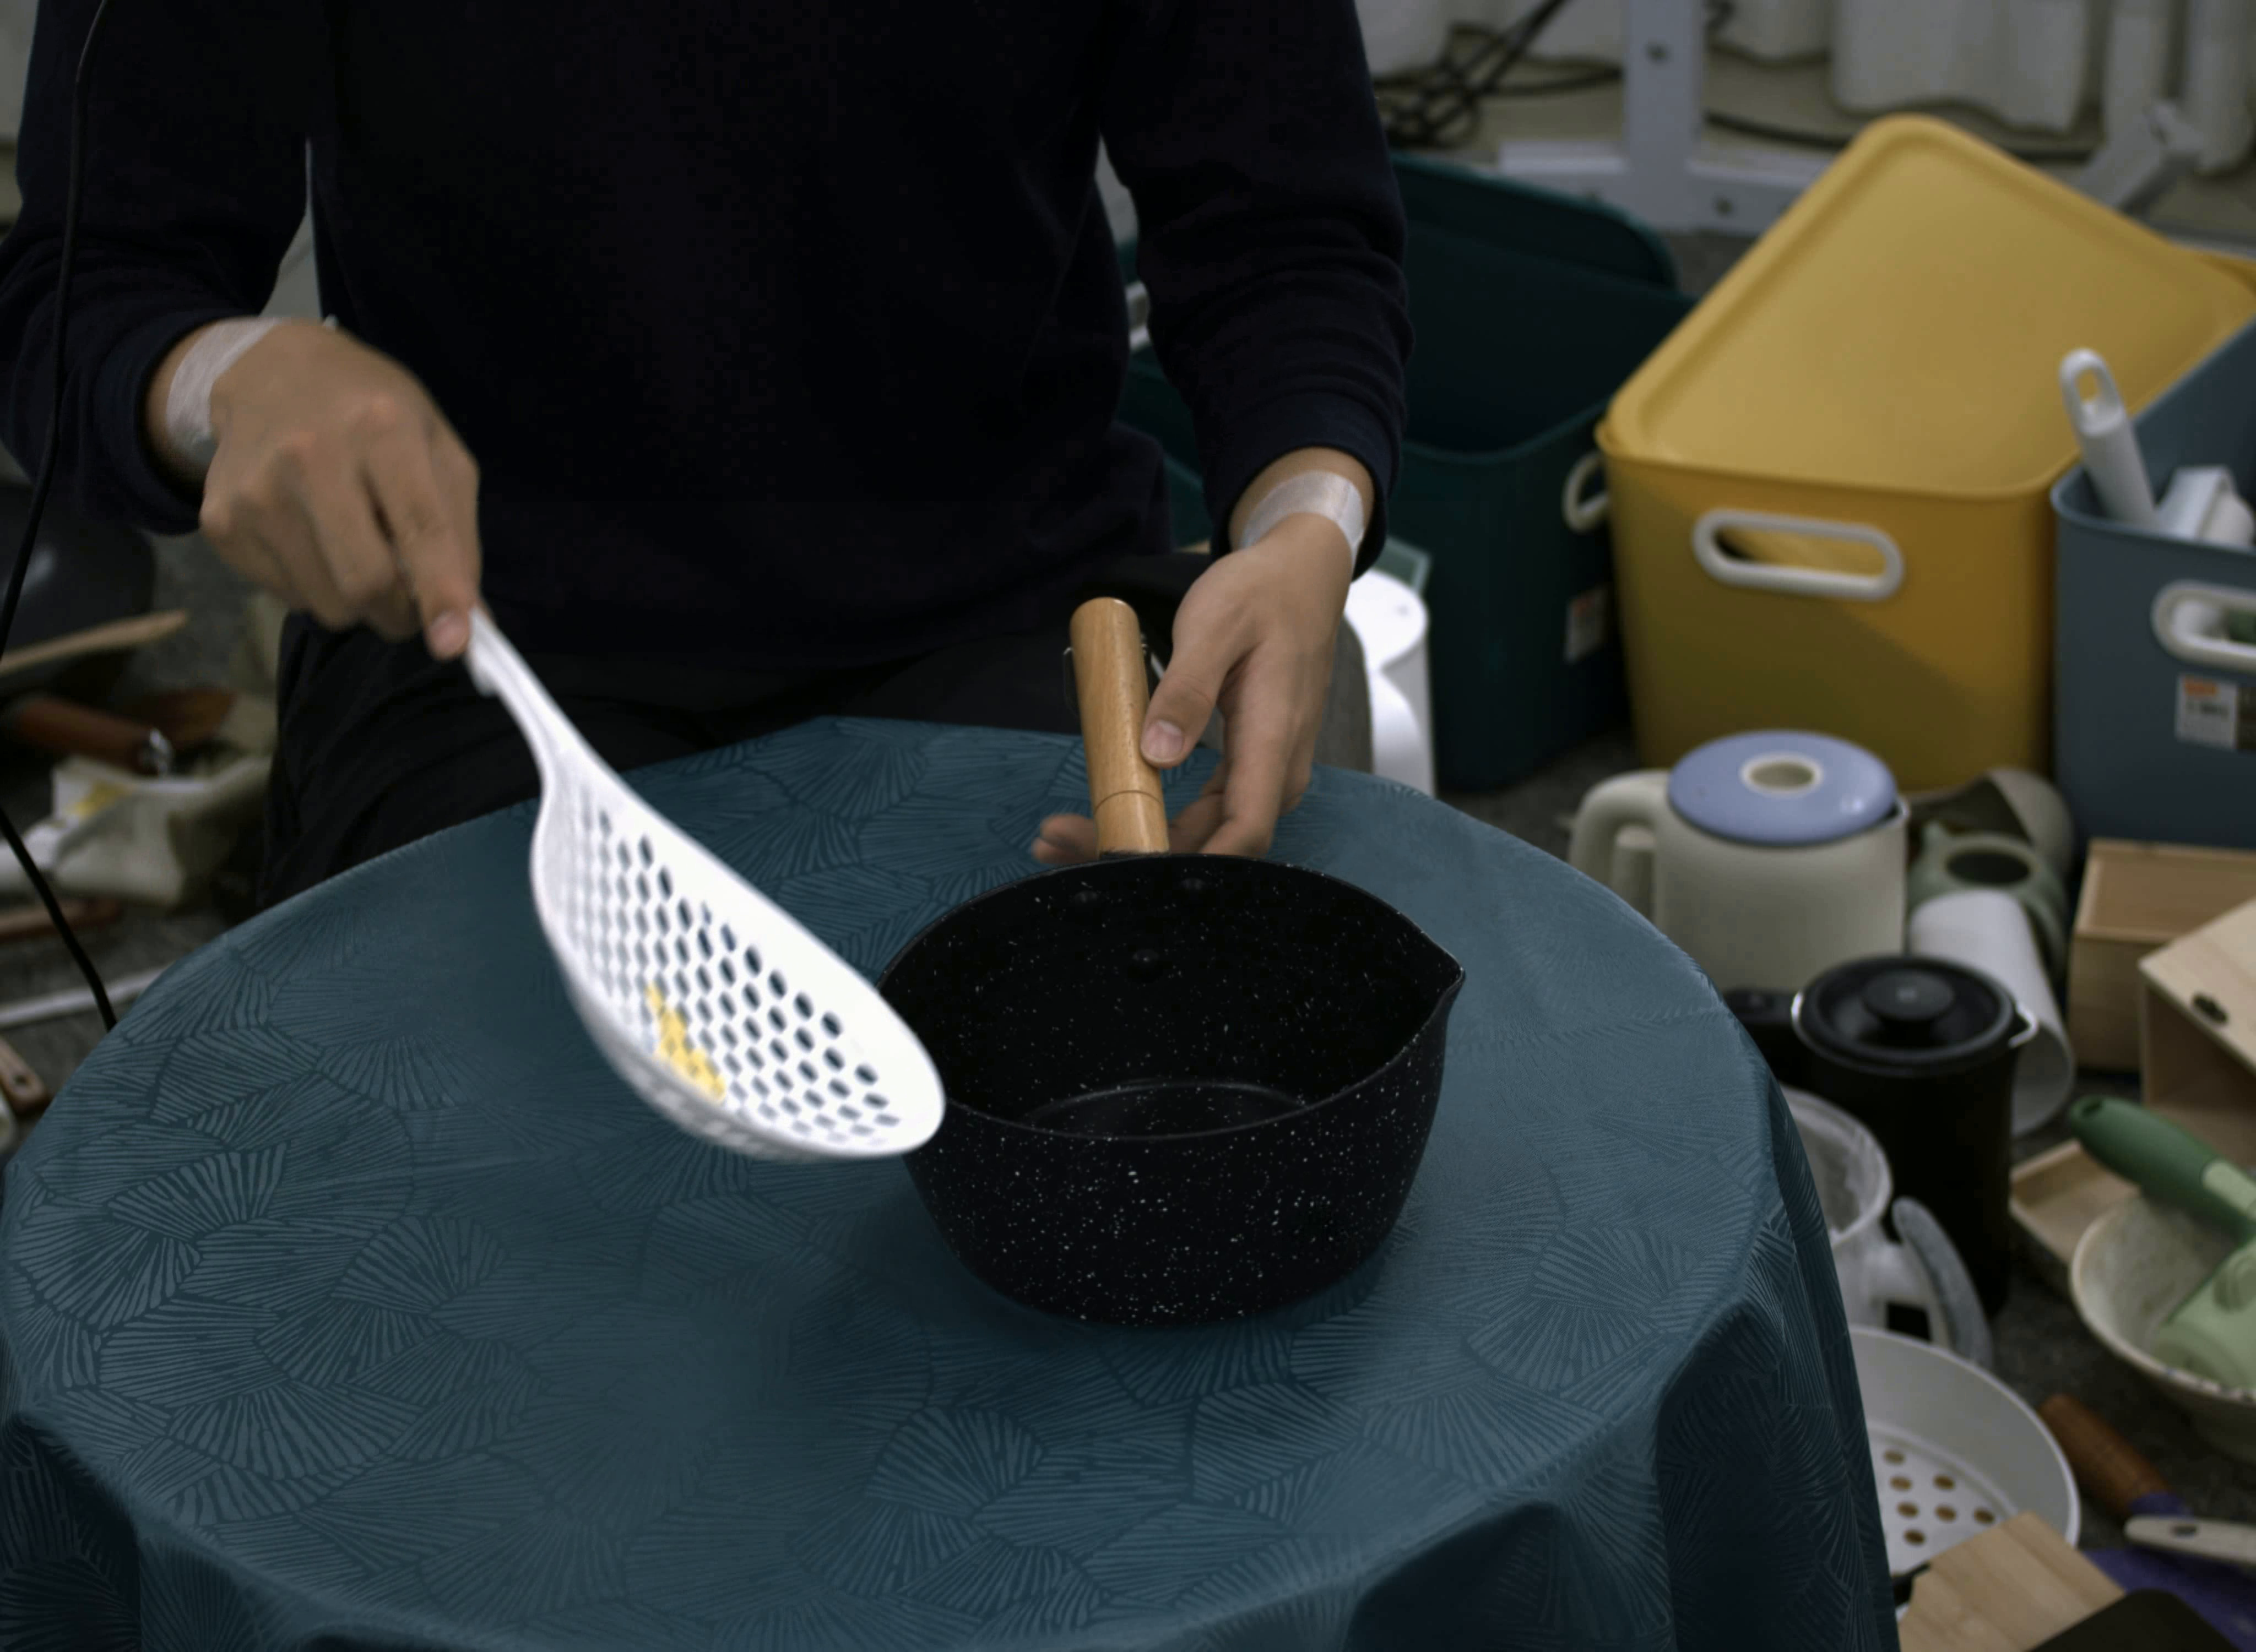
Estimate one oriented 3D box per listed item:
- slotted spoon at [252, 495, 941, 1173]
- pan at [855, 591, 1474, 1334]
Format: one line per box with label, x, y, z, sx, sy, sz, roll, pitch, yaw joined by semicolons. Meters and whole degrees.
slotted spoon;-0.183;-0.004;1.780;0.137;0.049;0.351;7;38;-48
pan;0.004;0.043;1.898;0.207;0.107;0.348;-6;29;-3
